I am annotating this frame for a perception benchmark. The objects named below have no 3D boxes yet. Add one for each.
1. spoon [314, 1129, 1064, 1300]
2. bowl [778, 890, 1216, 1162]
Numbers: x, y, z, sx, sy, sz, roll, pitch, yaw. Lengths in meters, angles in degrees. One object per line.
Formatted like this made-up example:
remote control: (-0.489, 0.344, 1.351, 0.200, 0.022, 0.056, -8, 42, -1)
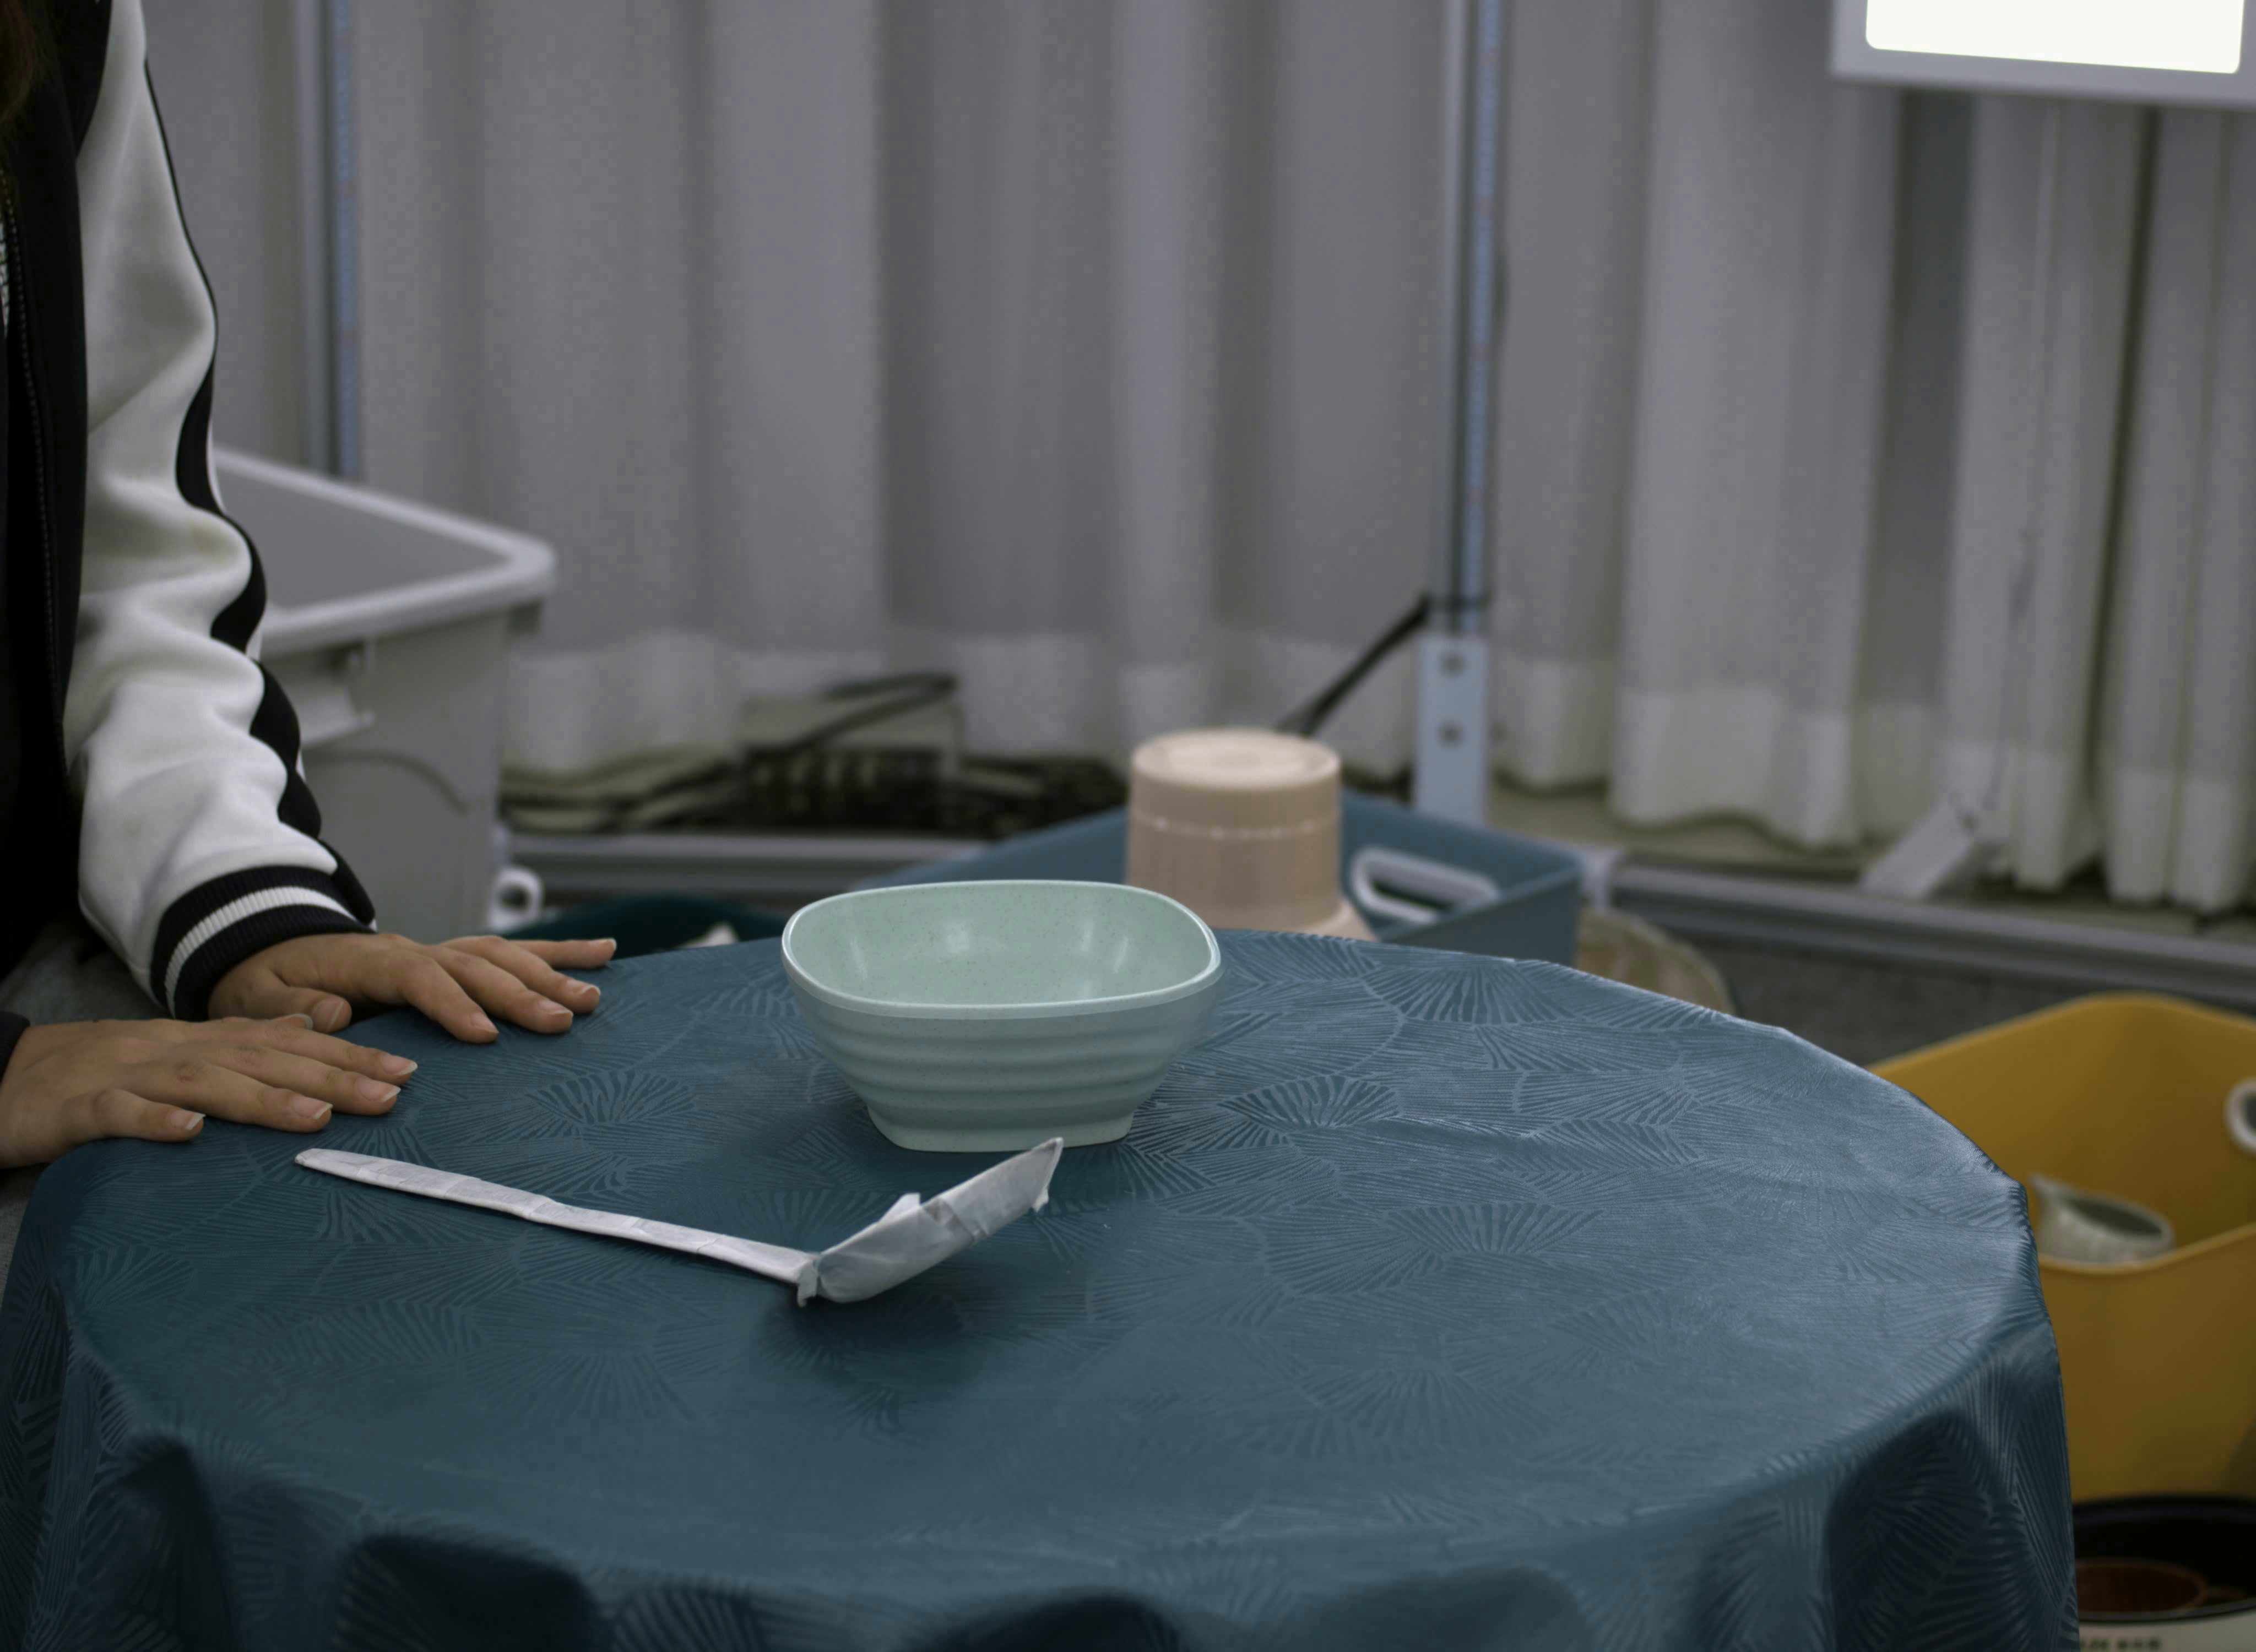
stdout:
spoon: (-0.138, 0.095, 1.573, 0.274, 0.060, 0.101, 12, 15, 34)
bowl: (-0.042, 0.067, 1.687, 0.151, 0.059, 0.150, 1, 15, 0)
